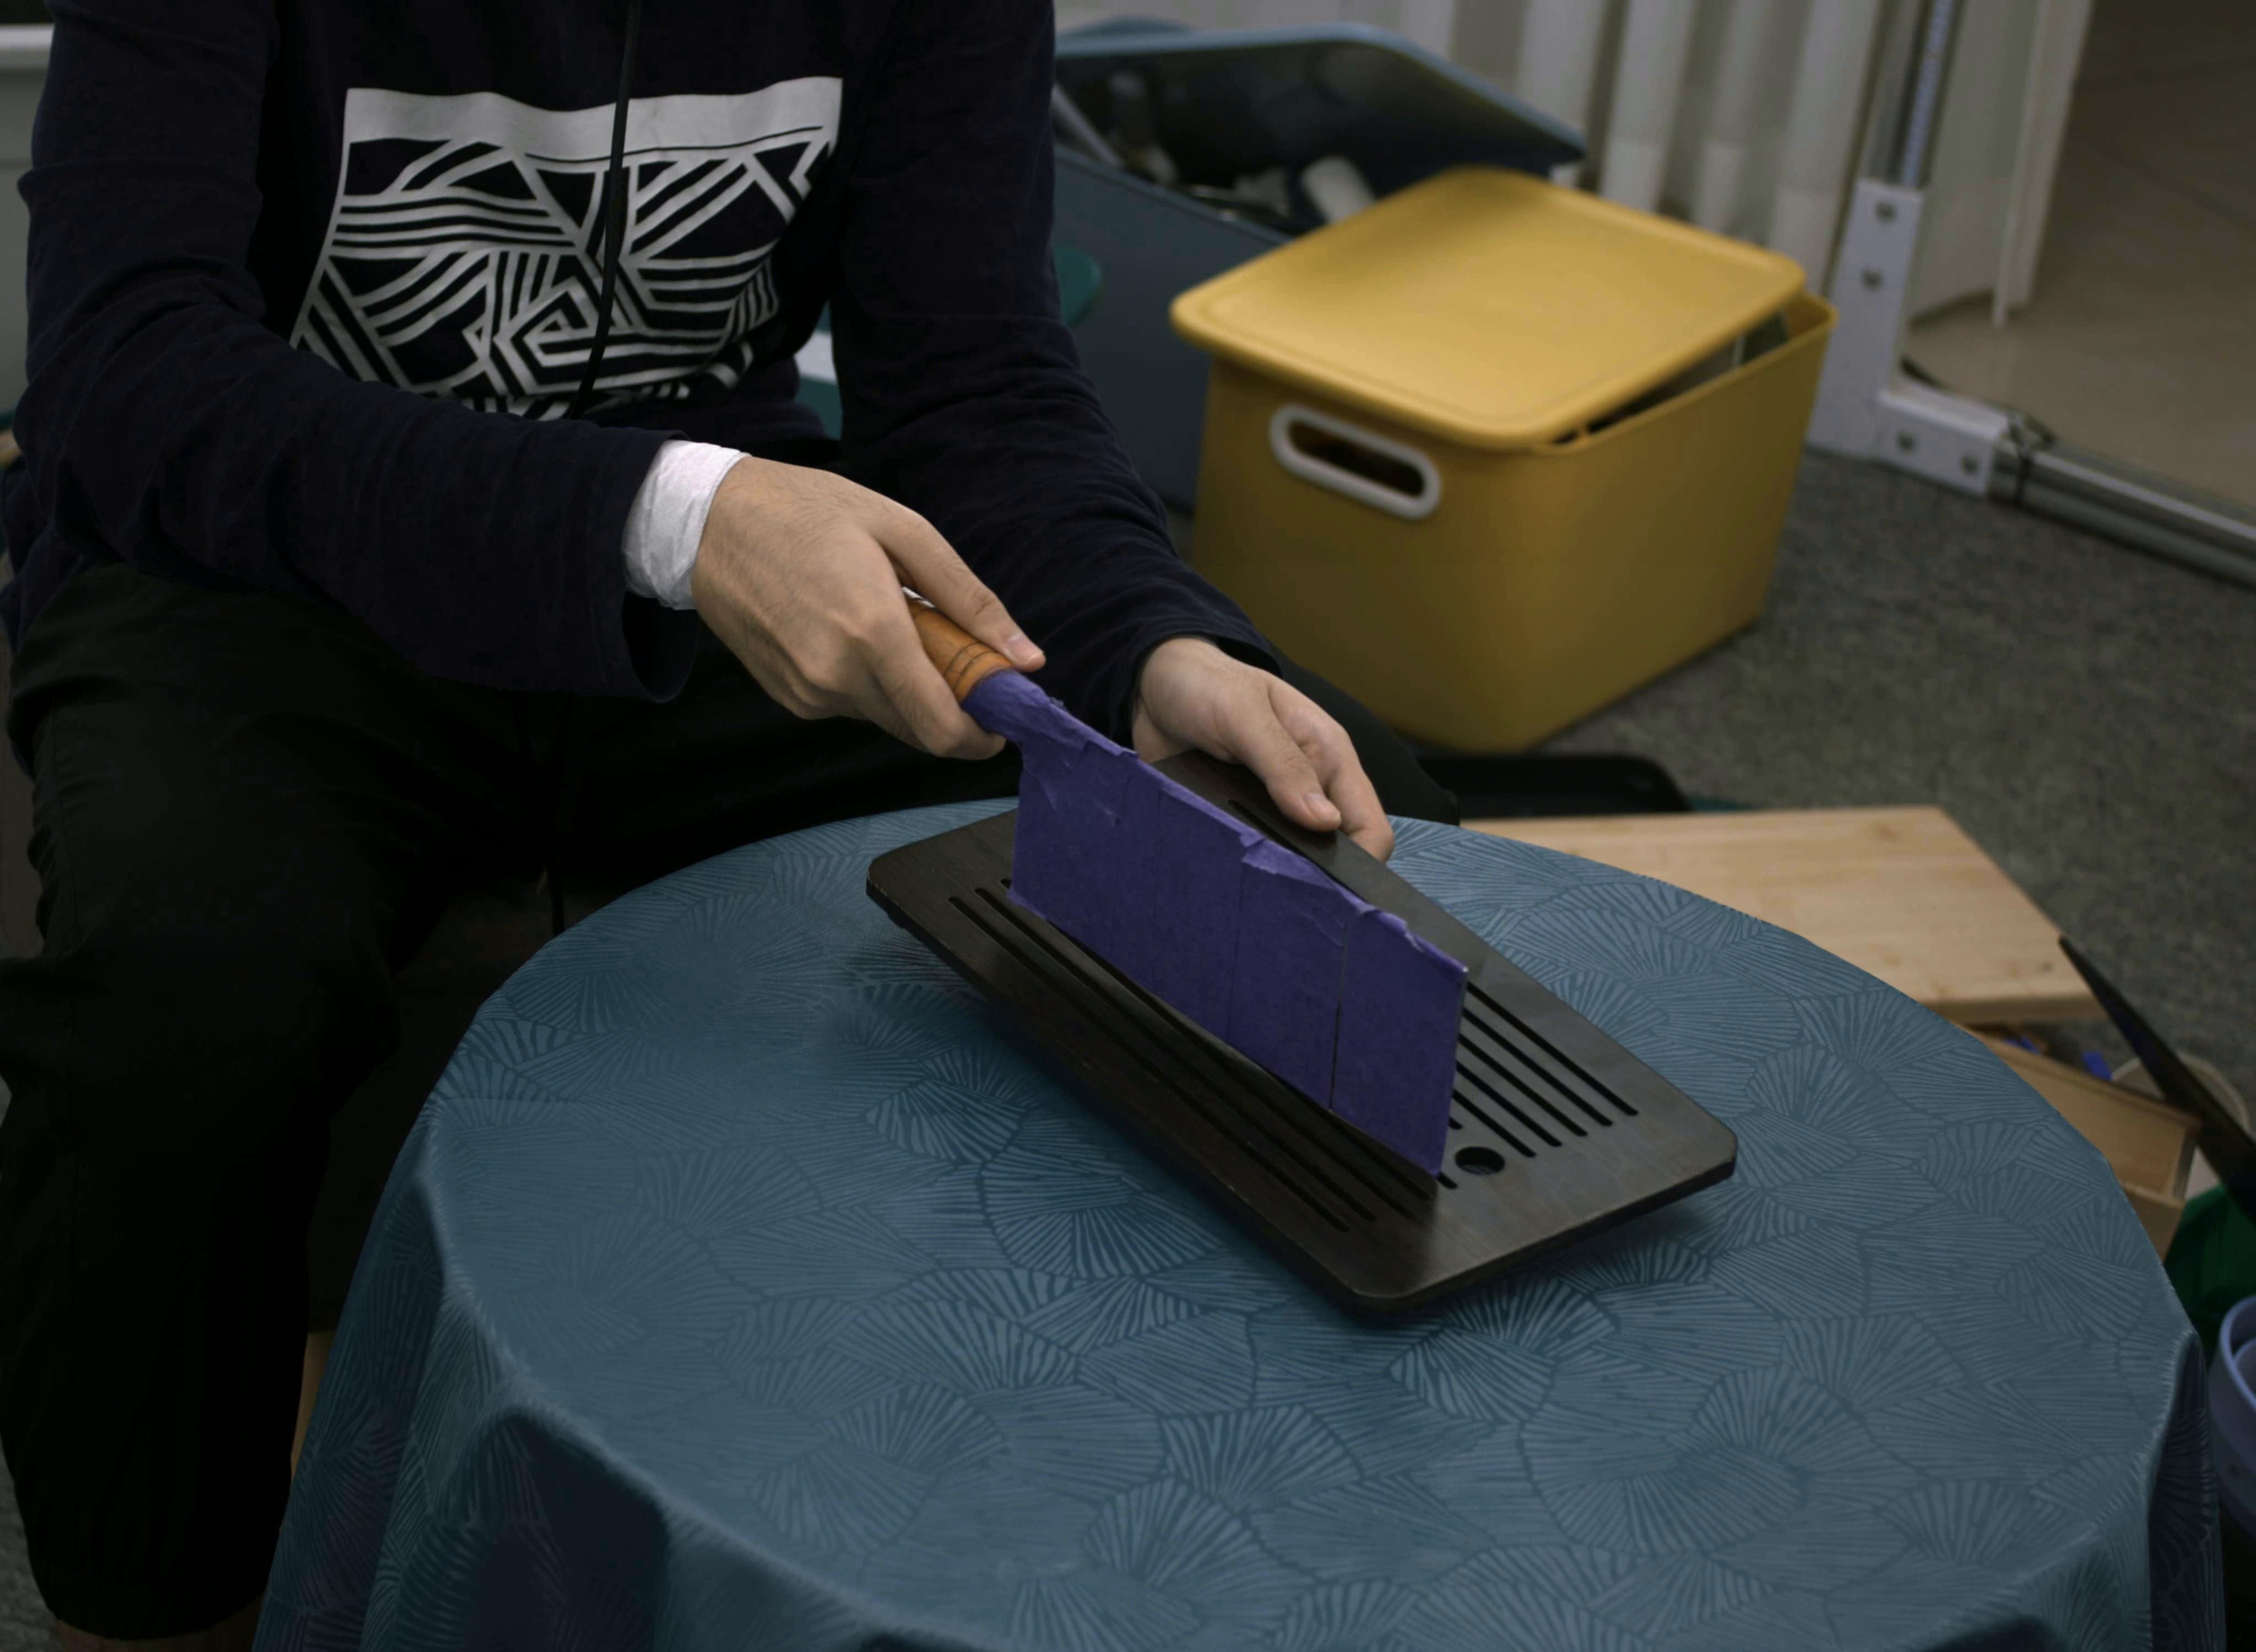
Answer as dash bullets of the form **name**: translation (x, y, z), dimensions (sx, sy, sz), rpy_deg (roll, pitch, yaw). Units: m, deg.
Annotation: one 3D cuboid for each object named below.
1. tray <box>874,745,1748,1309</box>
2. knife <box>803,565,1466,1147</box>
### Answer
- **tray**: translation (0.060, 0.067, 1.877), dimensions (0.169, 0.018, 0.308), rpy_deg (-19, 39, -31)
- **knife**: translation (-0.003, 0.012, 1.846), dimensions (0.032, 0.103, 0.318), rpy_deg (-23, 42, -37)
